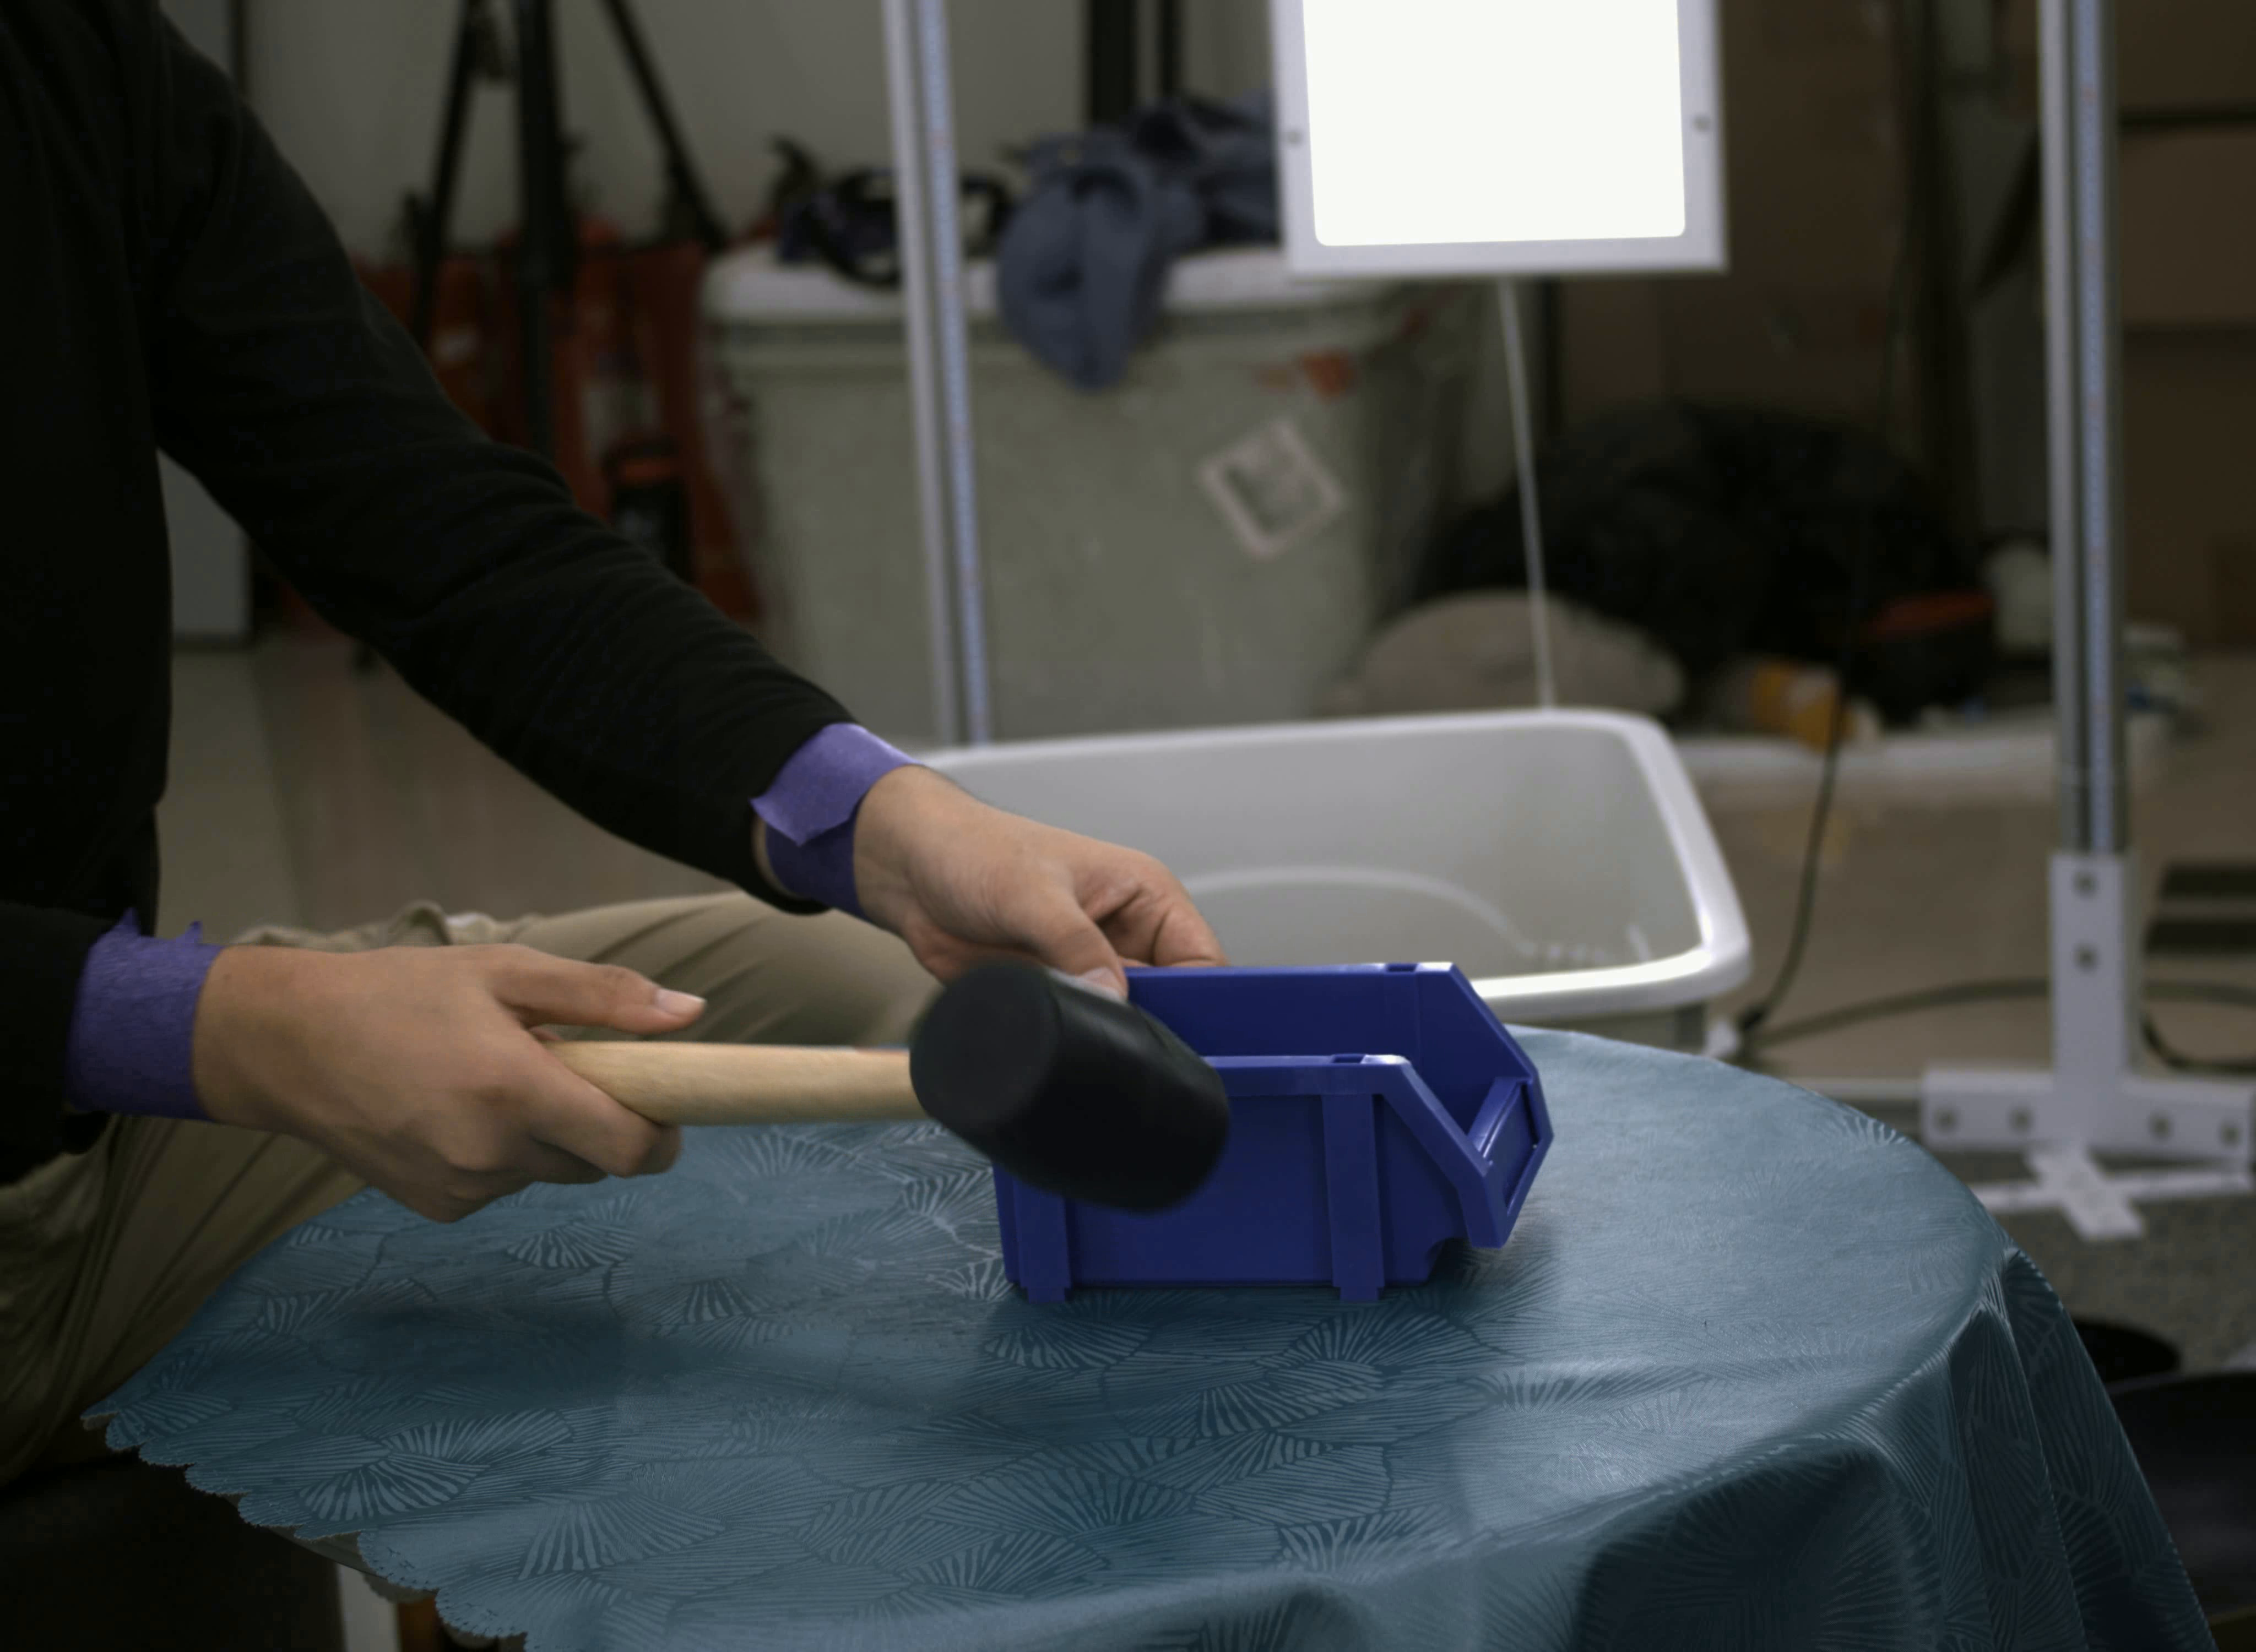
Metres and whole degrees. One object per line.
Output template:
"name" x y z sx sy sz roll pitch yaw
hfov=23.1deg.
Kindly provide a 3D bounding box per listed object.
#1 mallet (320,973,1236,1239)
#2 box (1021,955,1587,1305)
"mallet" -0.125 0.078 1.766 0.346 0.064 0.100 4 -19 39
"box" 0.053 0.099 1.822 0.181 0.082 0.122 -4 14 17
